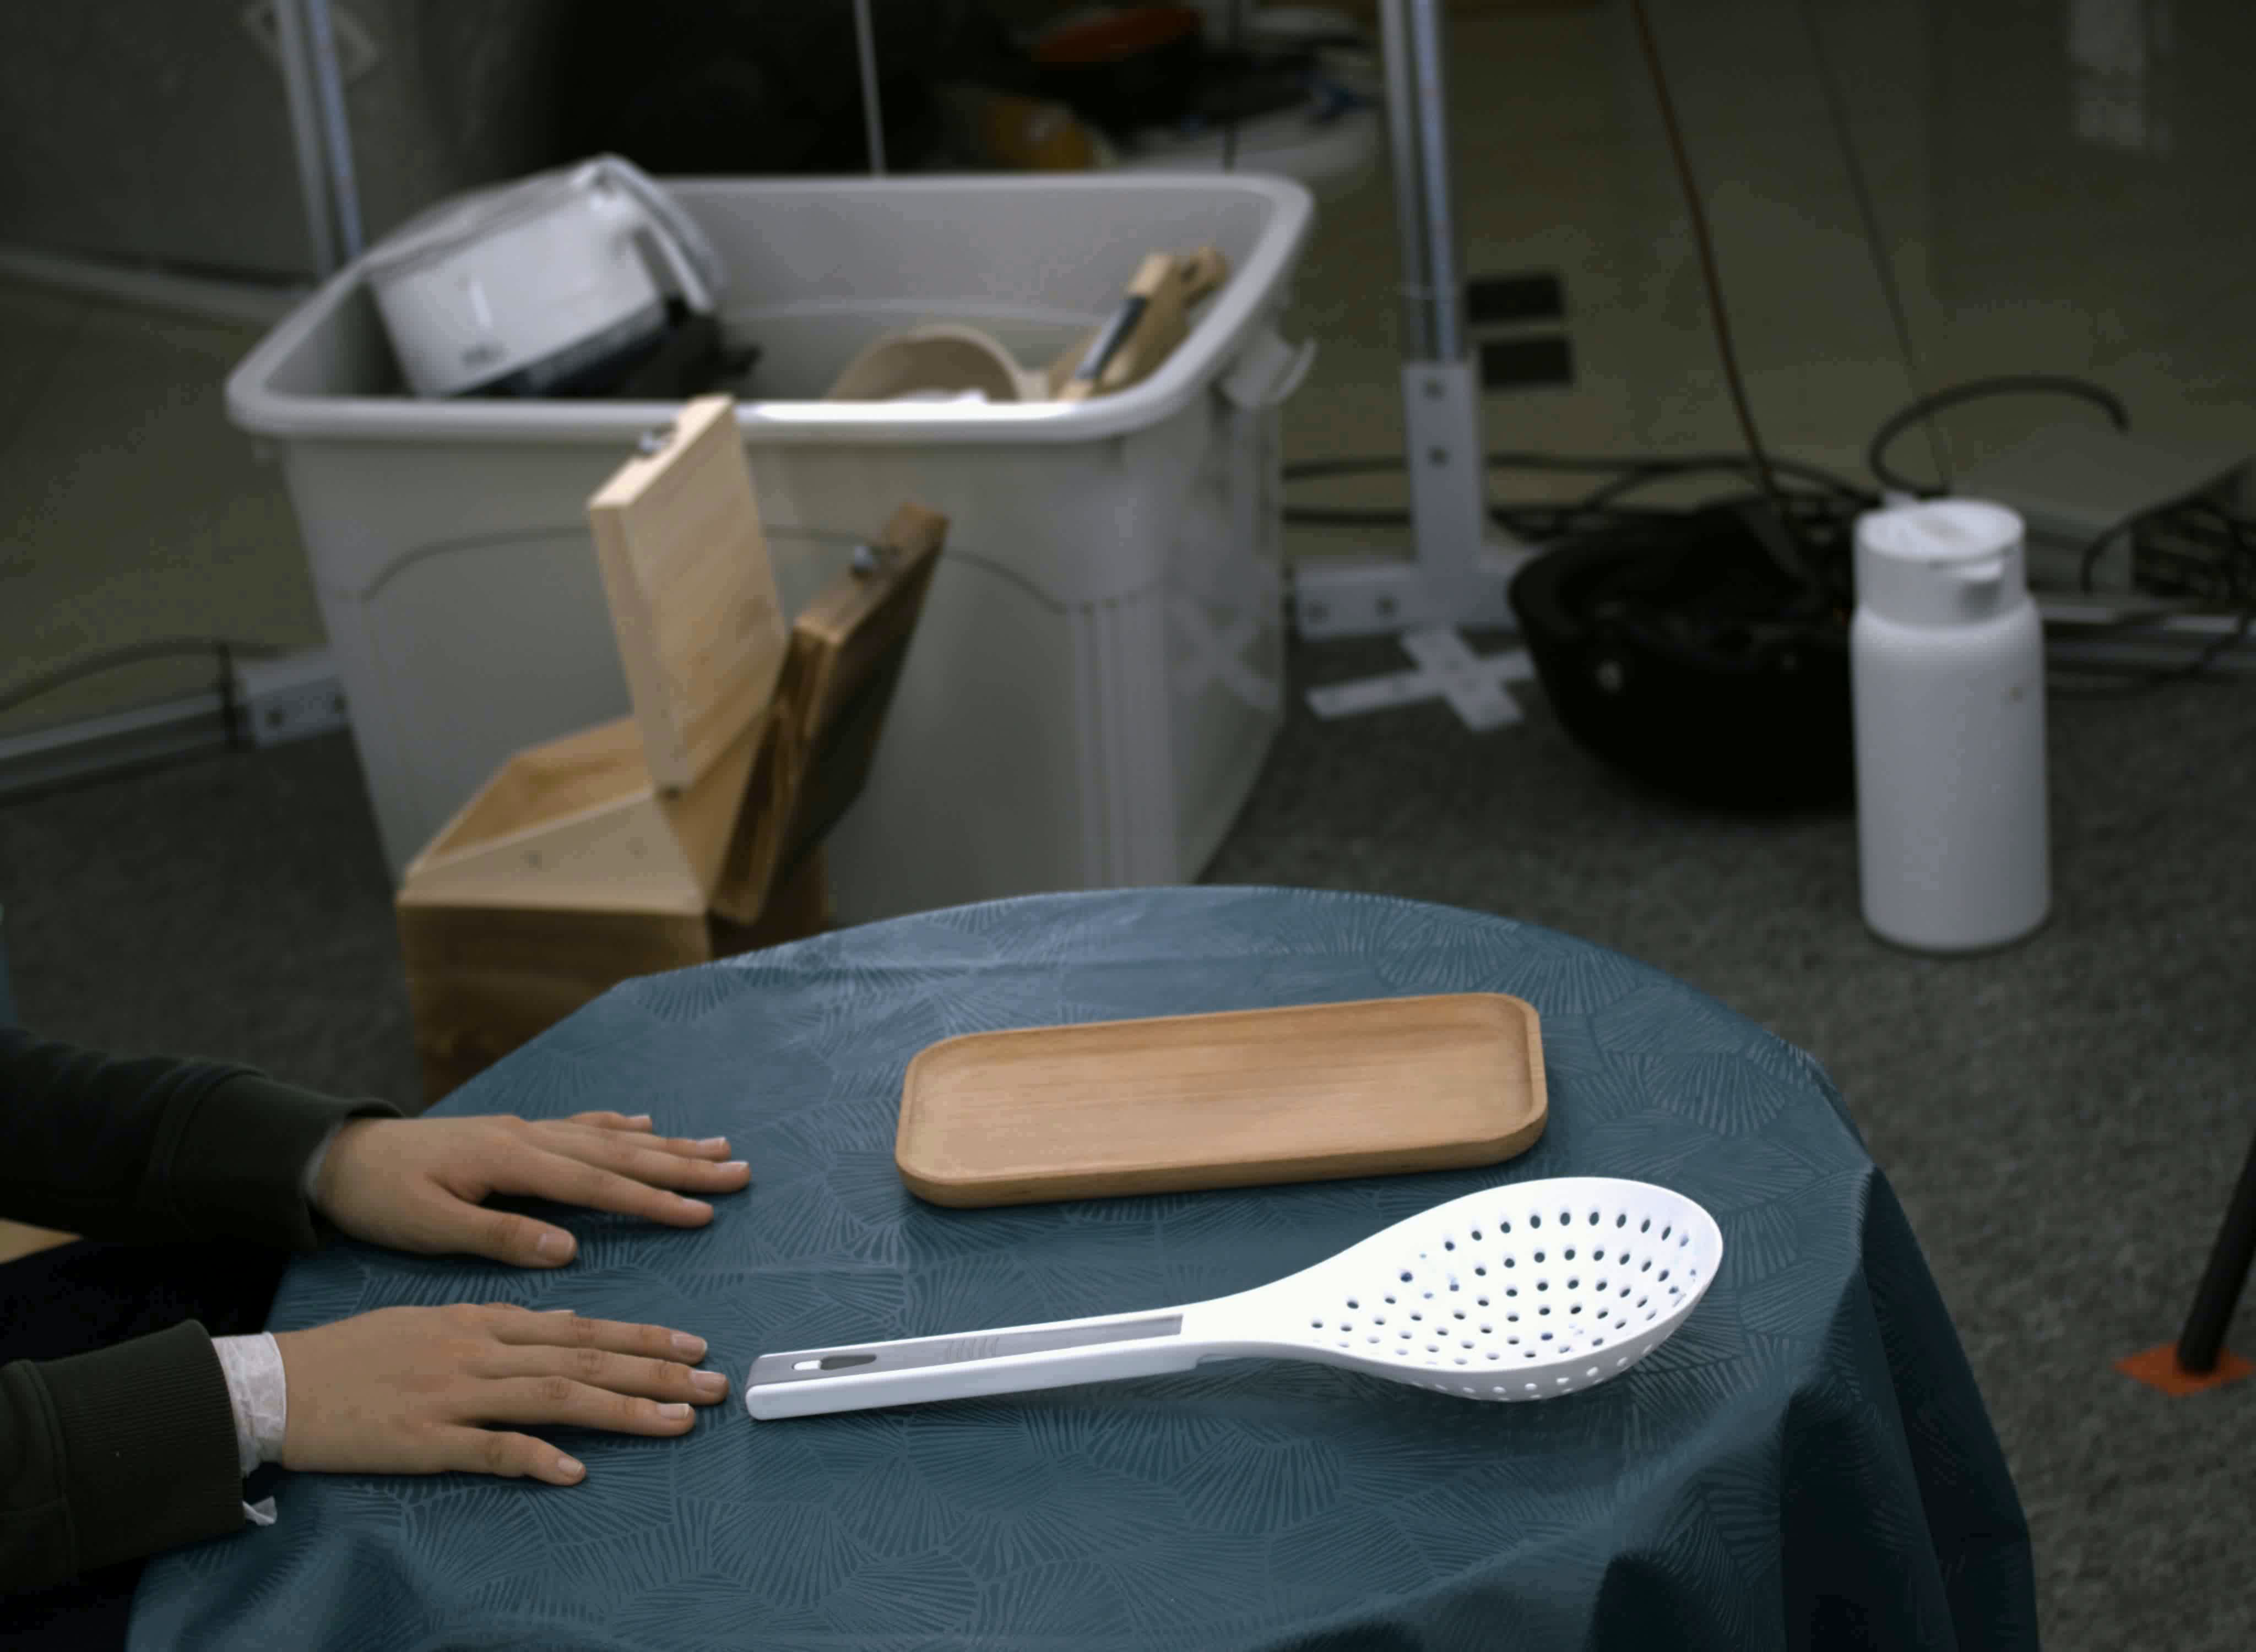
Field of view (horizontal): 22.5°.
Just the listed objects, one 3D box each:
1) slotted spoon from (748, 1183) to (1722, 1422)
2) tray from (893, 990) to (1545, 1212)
[{"bbox_3d":[0.036,0.178,2.005,0.349,0.046,0.134,-4,23,8],"label":"slotted spoon"},{"bbox_3d":[0.035,0.107,2.194,0.250,0.023,0.129,-5,23,4],"label":"tray"}]
